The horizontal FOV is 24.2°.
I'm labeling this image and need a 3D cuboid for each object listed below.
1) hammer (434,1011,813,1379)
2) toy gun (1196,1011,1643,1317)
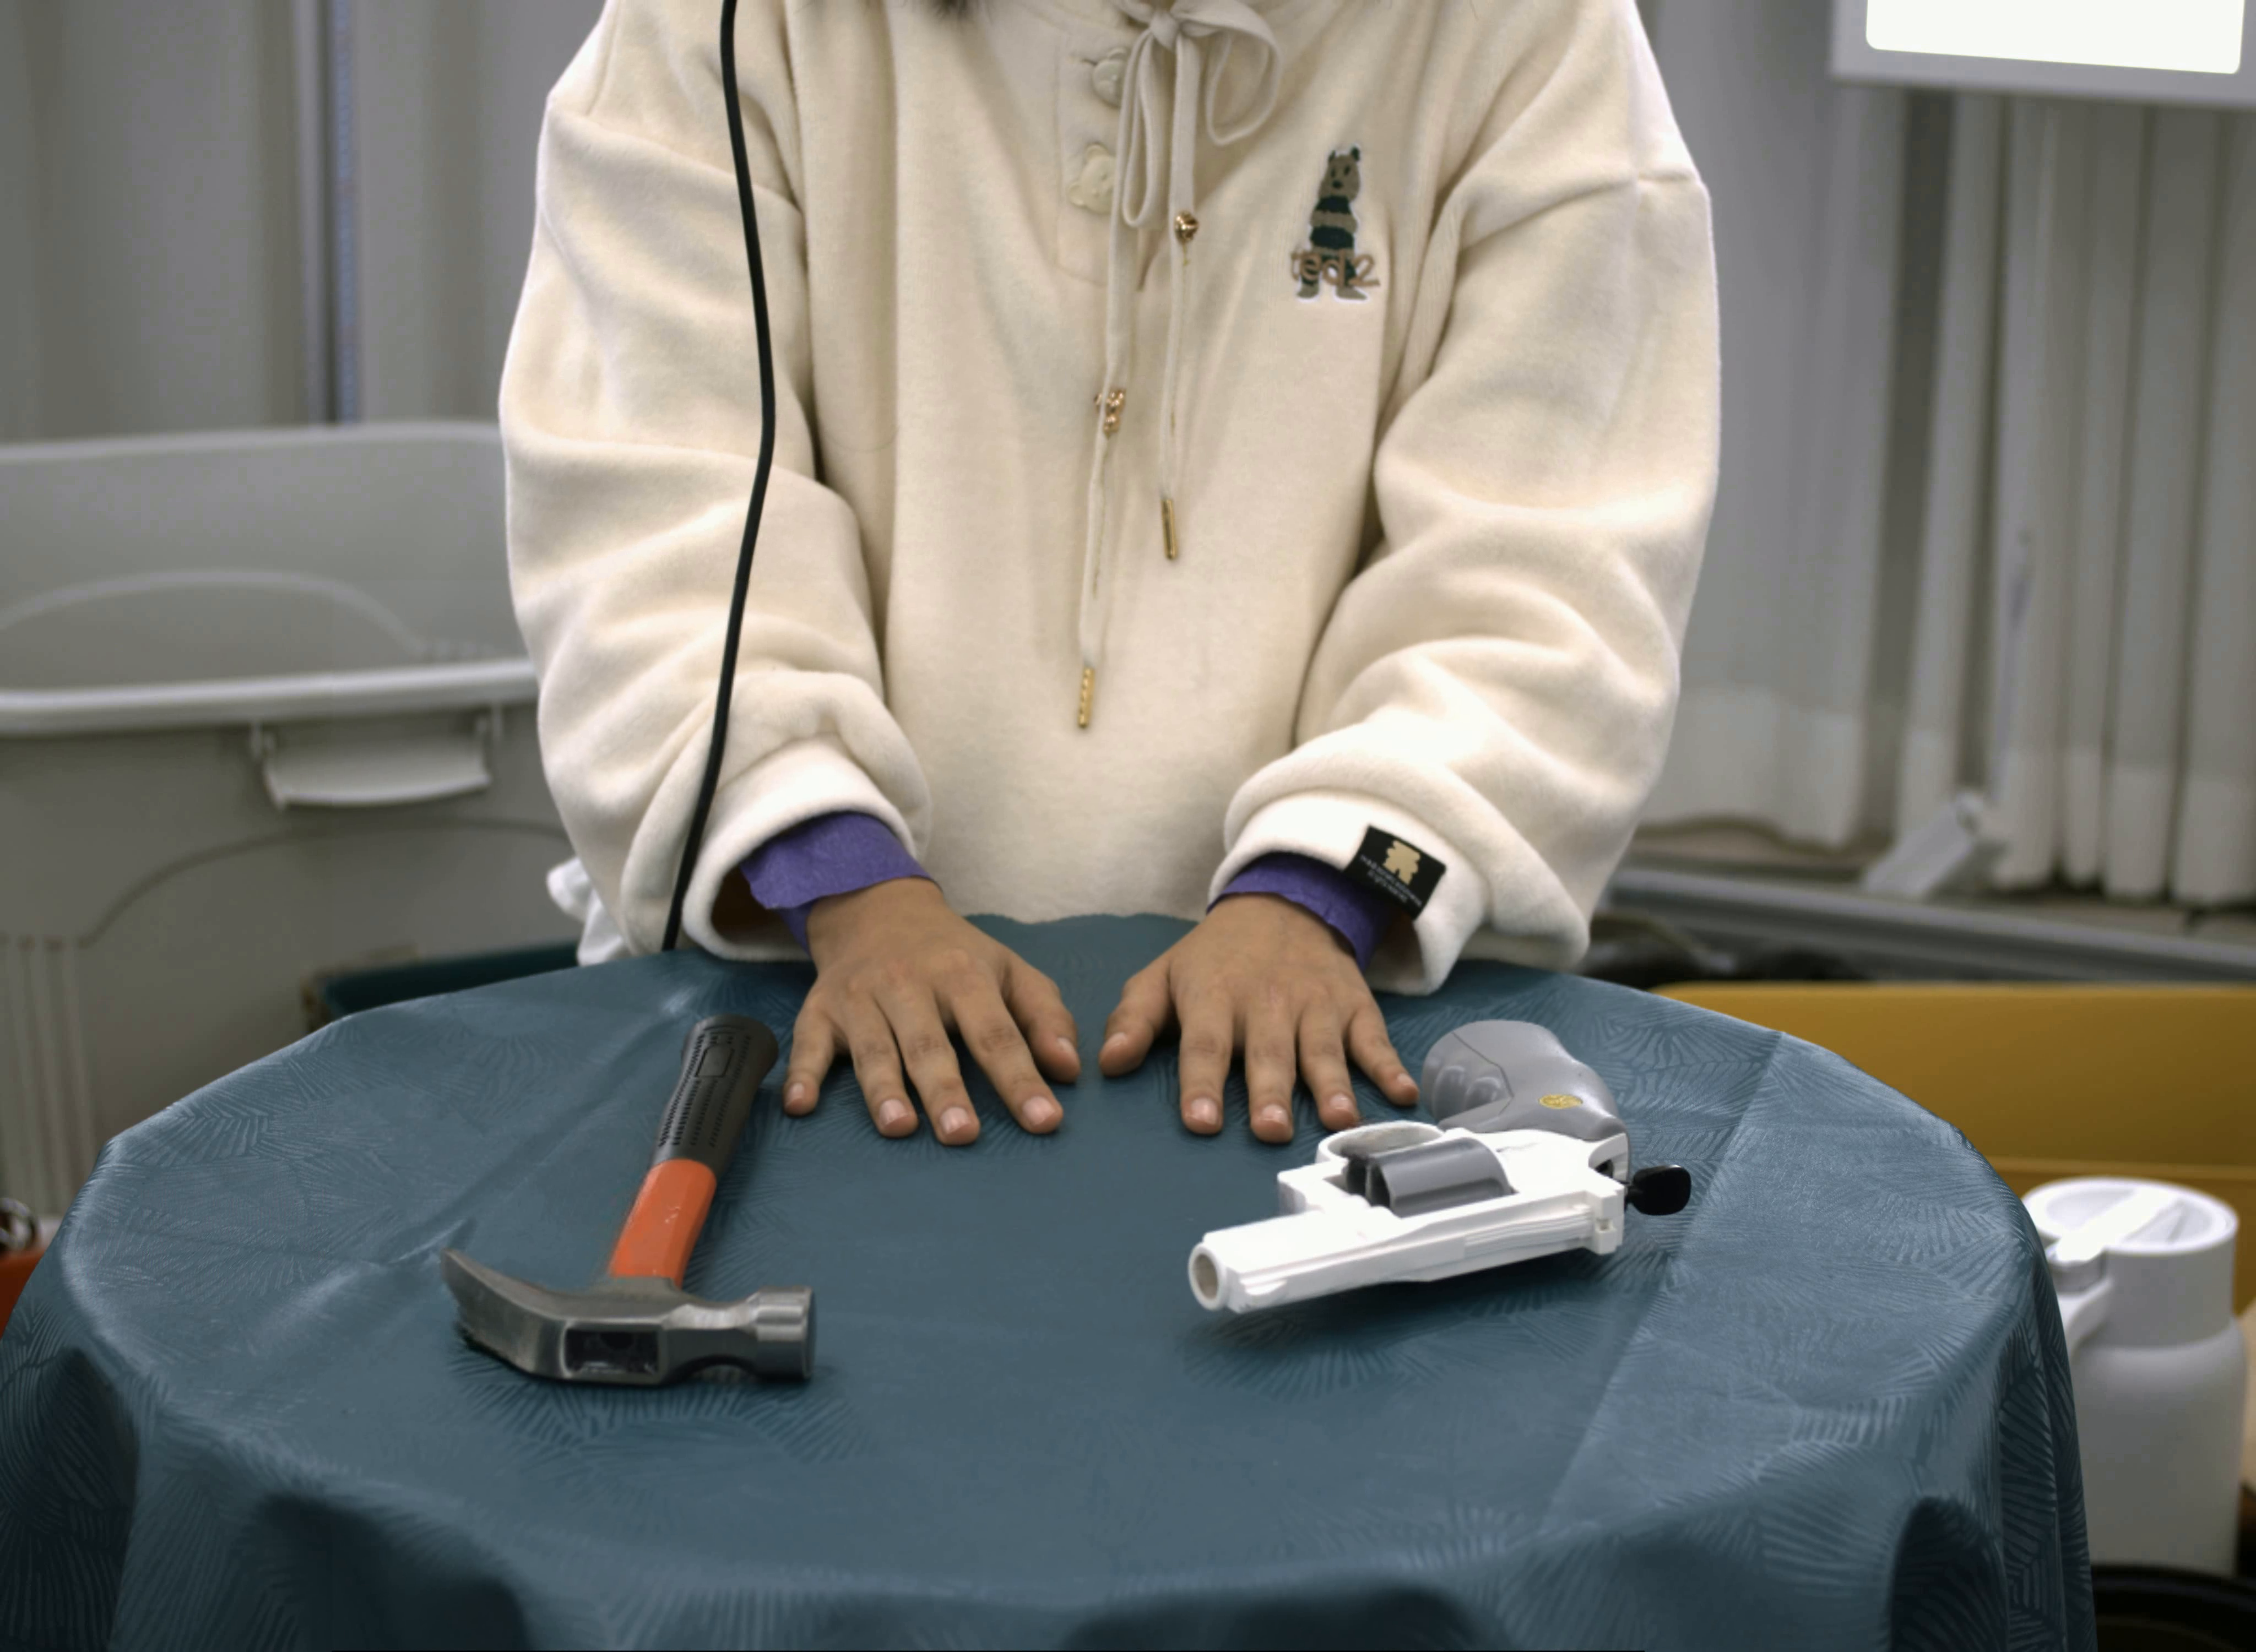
[{"bbox_3d":[-0.137,0.107,1.584,0.110,0.026,0.276,-7,14,5],"label":"hammer"},{"bbox_3d":[0.083,0.102,1.583,0.210,0.039,0.139,-9,21,-34],"label":"toy gun"}]
